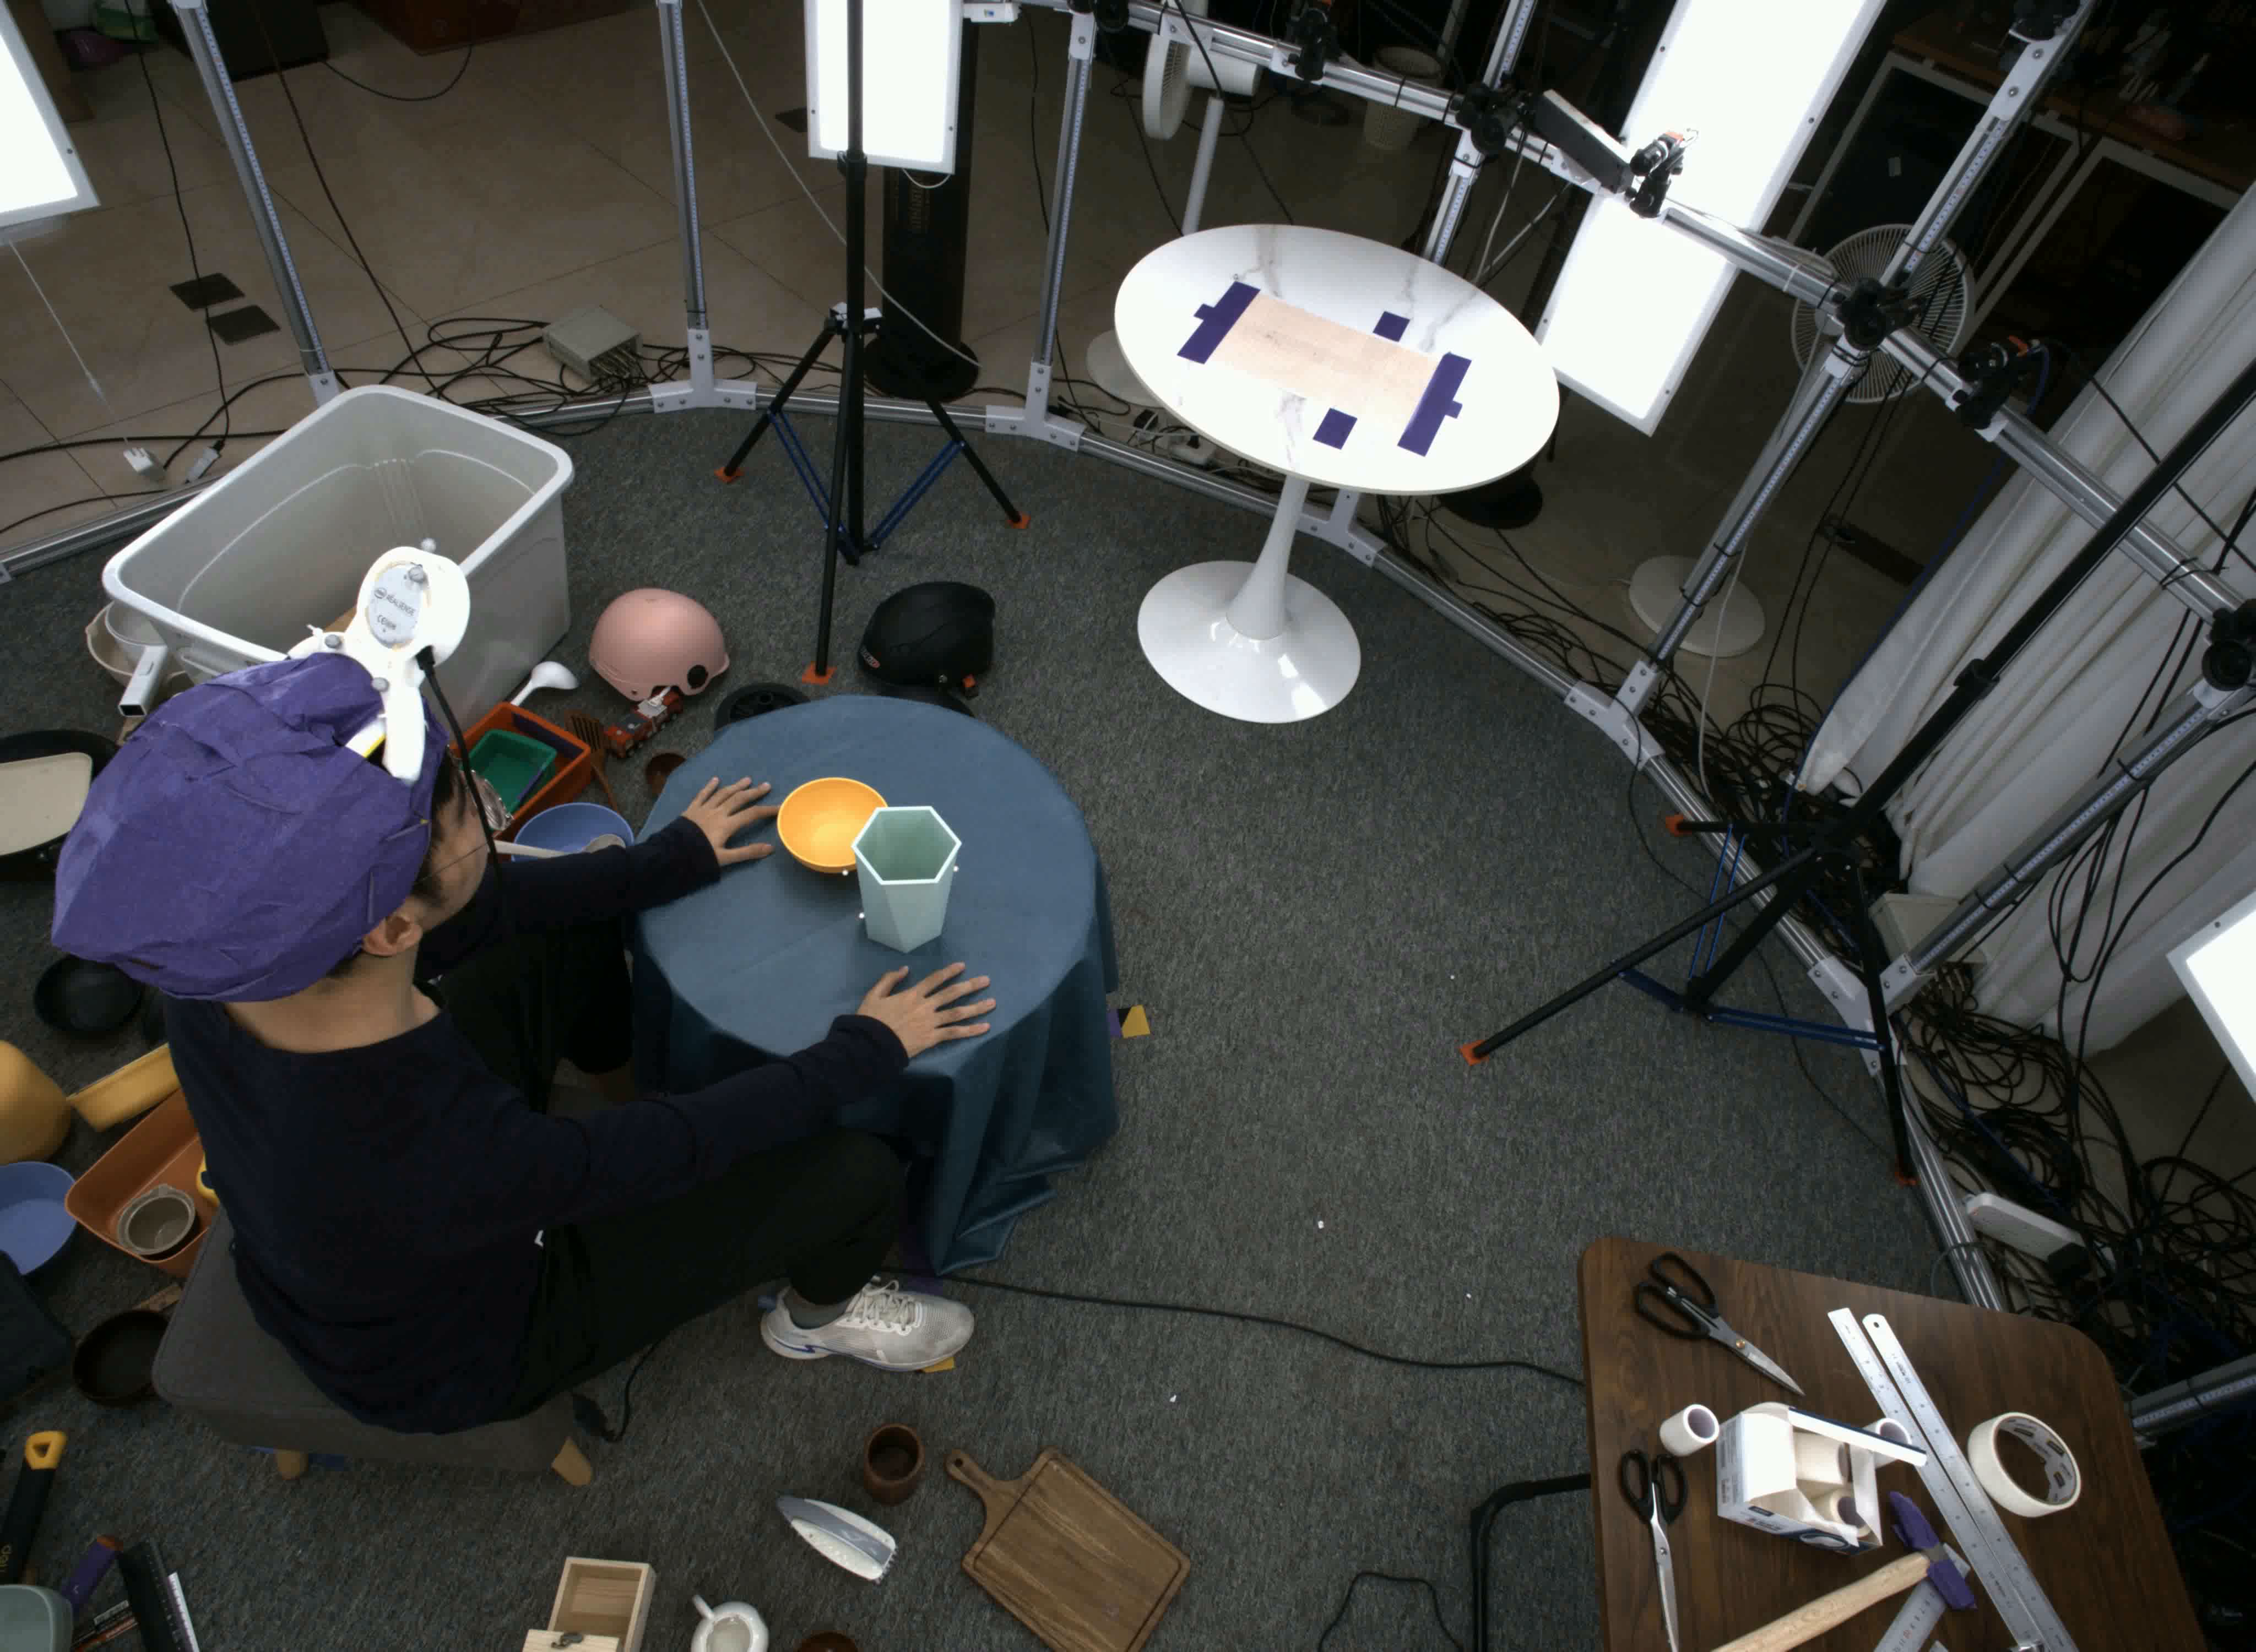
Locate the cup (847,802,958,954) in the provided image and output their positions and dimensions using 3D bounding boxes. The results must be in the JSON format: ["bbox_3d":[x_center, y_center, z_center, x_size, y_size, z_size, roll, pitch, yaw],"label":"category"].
[{"bbox_3d":[-0.277,0.067,1.607,0.115,0.166,0.128,-32,64,-29],"label":"cup"}]

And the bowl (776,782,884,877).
[{"bbox_3d":[-0.383,0.015,1.692,0.144,0.061,0.143,6,53,-6],"label":"bowl"}]
